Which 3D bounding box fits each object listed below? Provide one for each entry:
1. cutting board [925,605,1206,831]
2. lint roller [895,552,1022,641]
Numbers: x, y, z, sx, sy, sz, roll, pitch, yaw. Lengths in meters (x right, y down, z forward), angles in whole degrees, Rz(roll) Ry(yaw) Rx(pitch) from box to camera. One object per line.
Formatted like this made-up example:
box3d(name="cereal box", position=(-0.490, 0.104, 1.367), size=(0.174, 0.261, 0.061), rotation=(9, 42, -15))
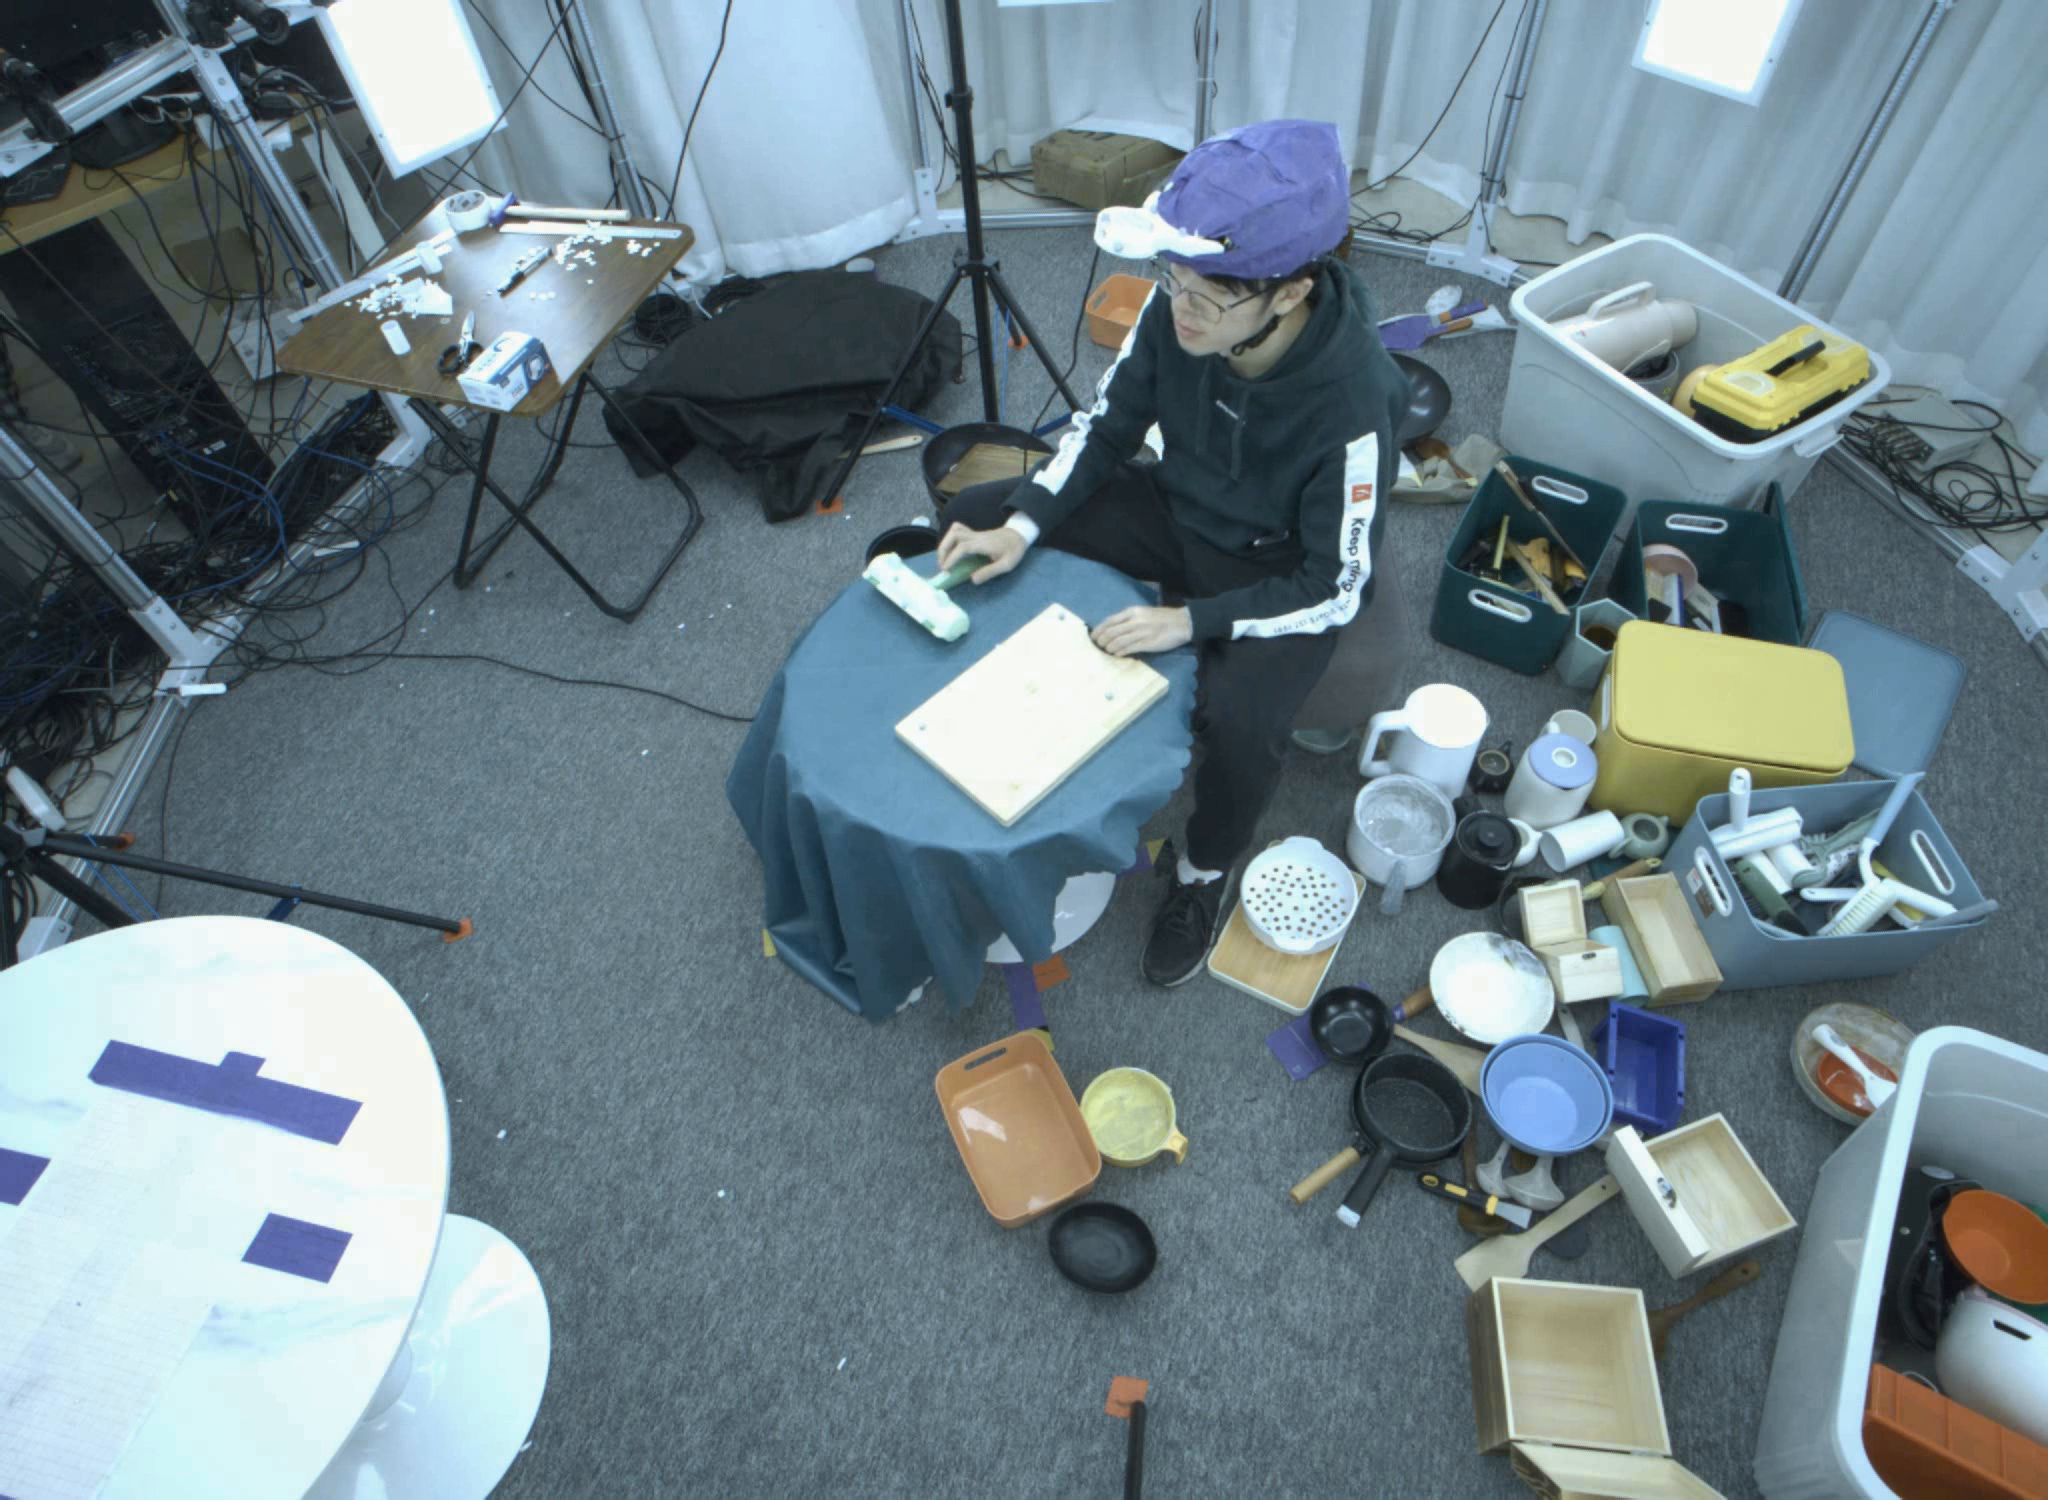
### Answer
box3d(name="cutting board", position=(0.060, -0.058, 1.812), size=(0.351, 0.024, 0.246), rotation=(-39, 62, -22))
box3d(name="lint roller", position=(-0.079, -0.277, 1.933), size=(0.184, 0.083, 0.195), rotation=(-39, 62, -19))
